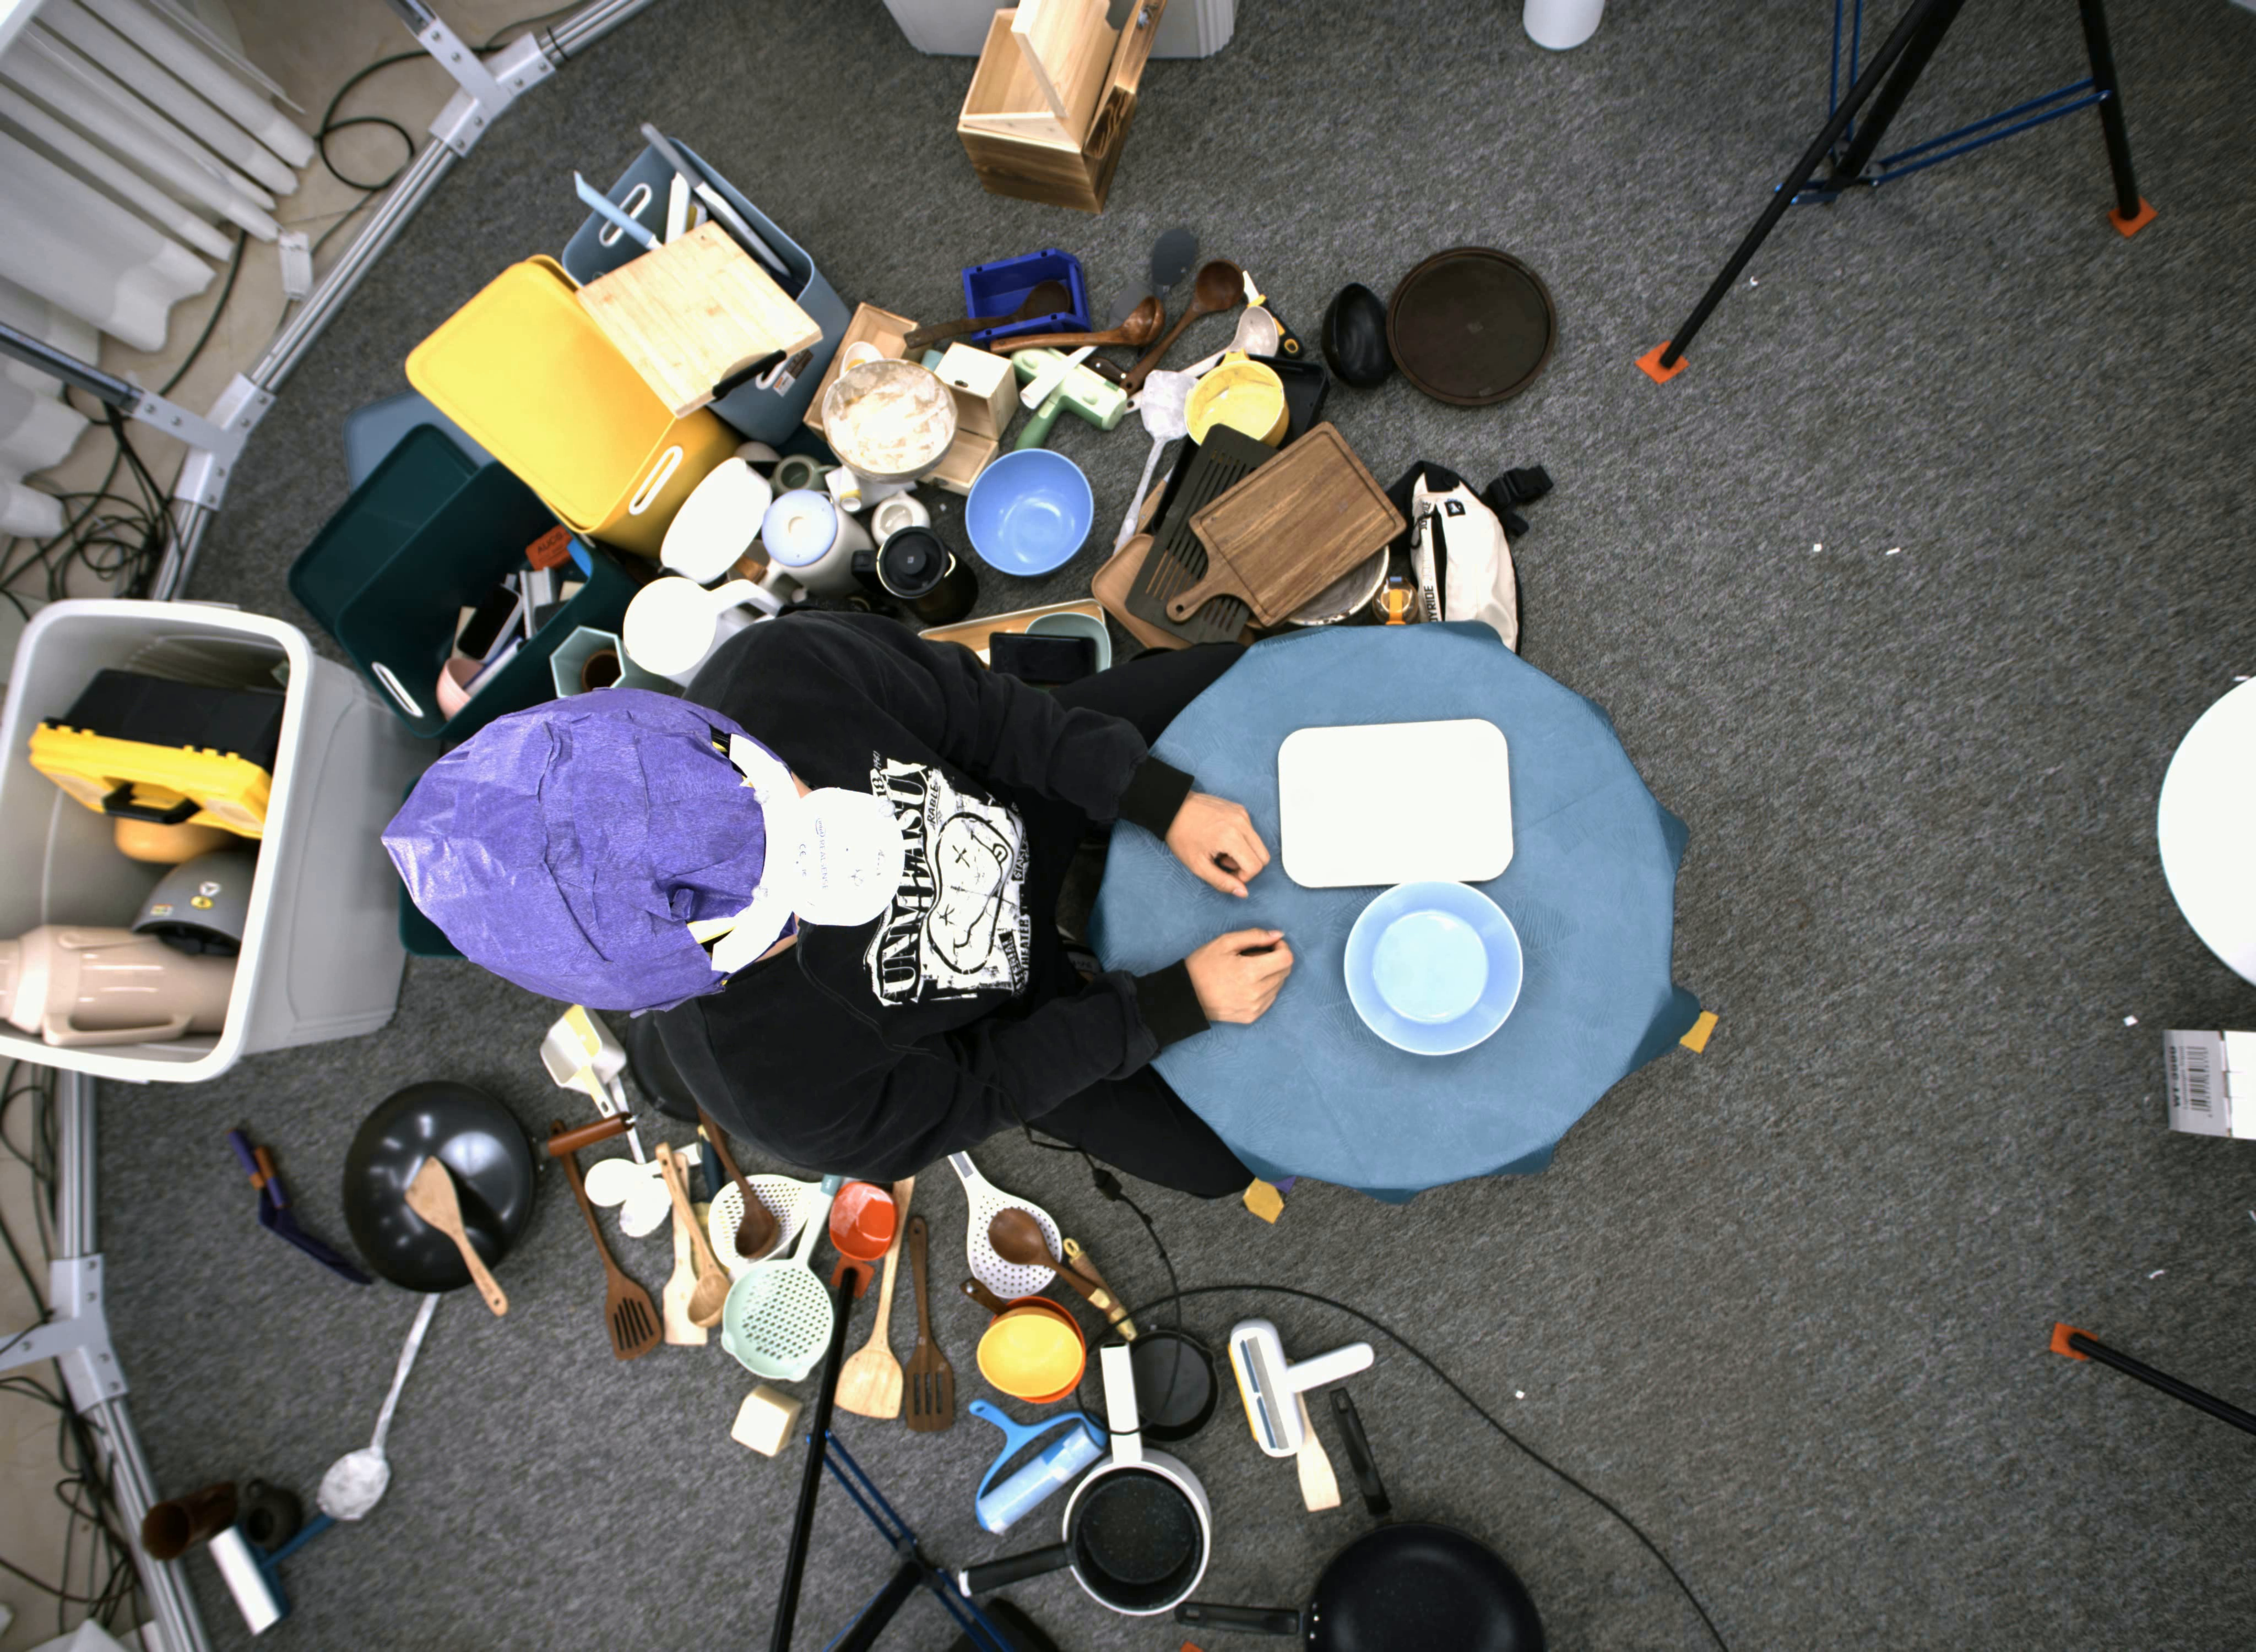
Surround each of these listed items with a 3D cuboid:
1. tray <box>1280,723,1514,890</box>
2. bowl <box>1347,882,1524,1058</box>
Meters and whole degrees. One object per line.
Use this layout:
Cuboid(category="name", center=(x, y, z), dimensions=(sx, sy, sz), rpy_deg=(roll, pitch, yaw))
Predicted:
Cuboid(category="tray", center=(0.284, -0.021, 1.460), dimensions=(0.241, 0.017, 0.170), rpy_deg=(-3, 85, 10))
Cuboid(category="bowl", center=(0.313, 0.147, 1.416), dimensions=(0.177, 0.070, 0.175), rpy_deg=(-1, 85, 10))
